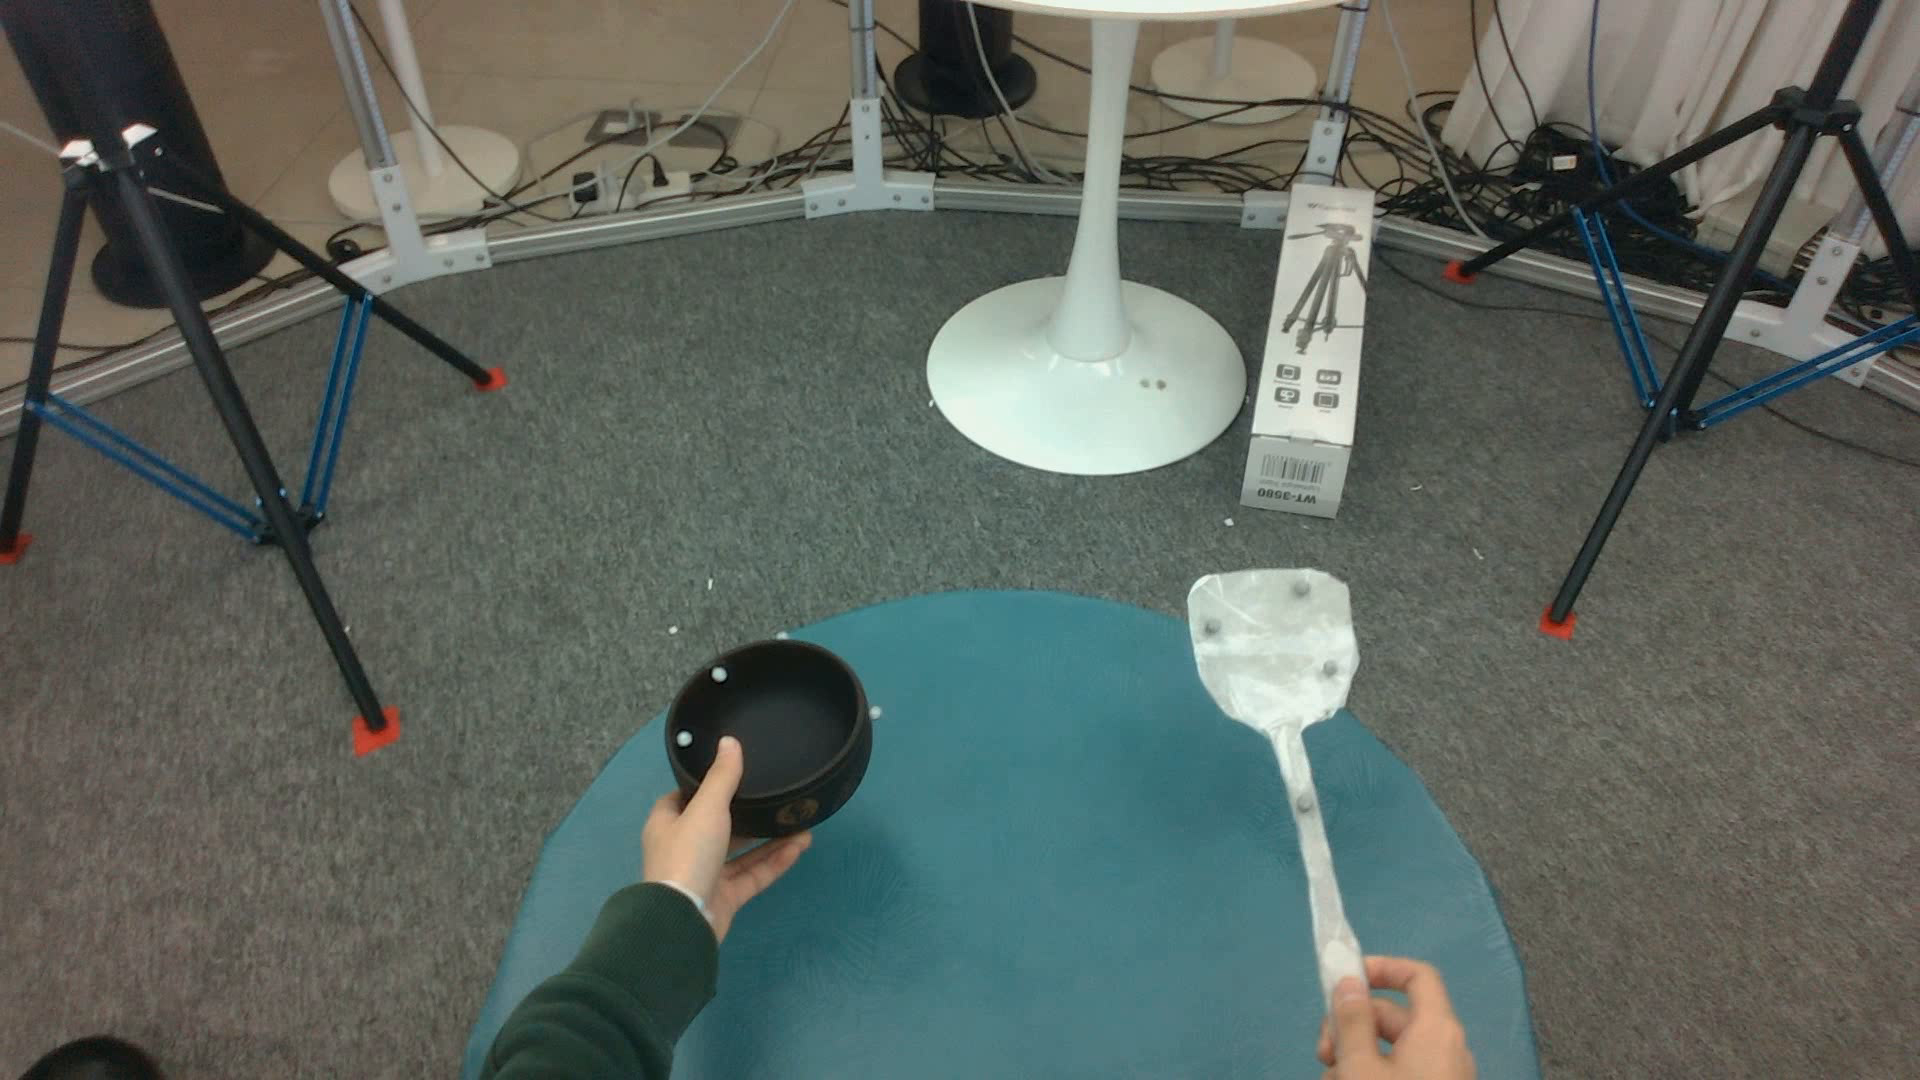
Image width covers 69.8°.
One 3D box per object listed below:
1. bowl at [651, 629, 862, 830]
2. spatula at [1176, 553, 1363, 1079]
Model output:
[{"bbox_3d":[-0.114,0.117,0.802,0.118,0.069,0.118,-4,47,4],"label":"bowl"},{"bbox_3d":[0.178,0.149,0.726,0.099,0.044,0.366,0,43,0],"label":"spatula"}]
